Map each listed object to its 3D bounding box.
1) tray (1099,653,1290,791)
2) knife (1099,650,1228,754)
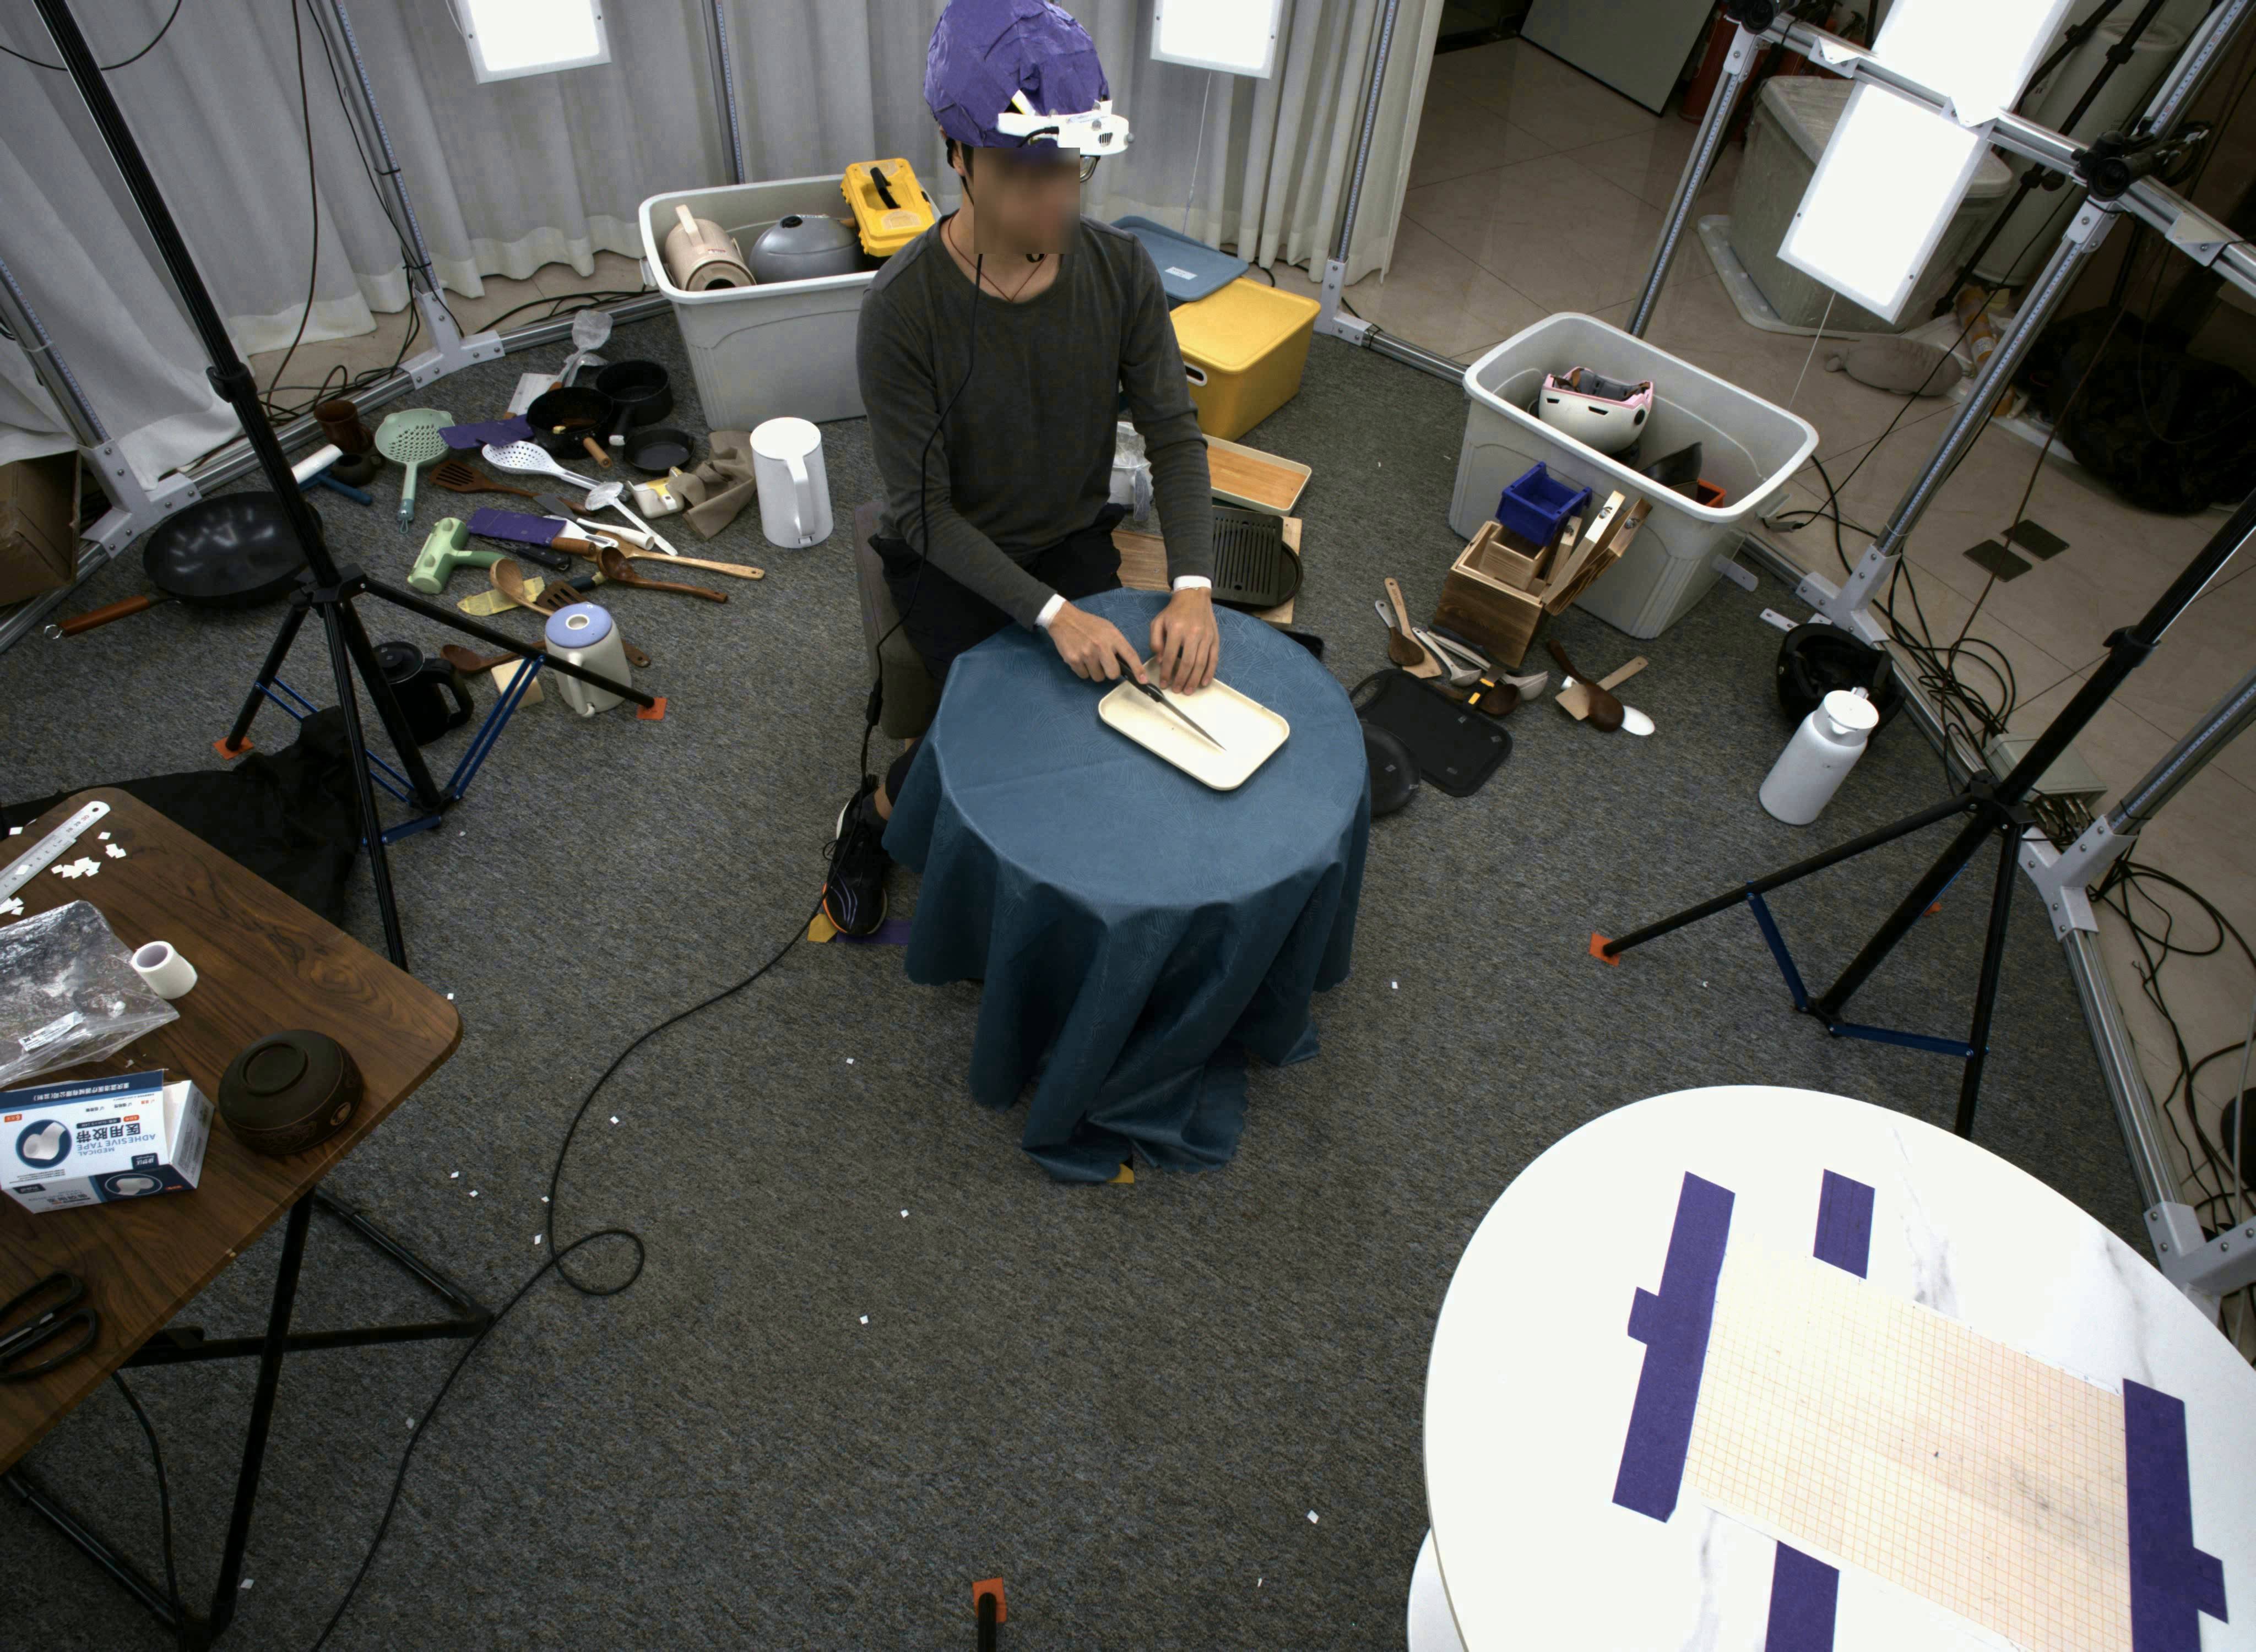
[{"bbox_3d":[0.092,-0.147,1.789,0.242,0.017,0.173,34,56,23],"label":"tray"},{"bbox_3d":[0.050,-0.175,1.790,0.241,0.024,0.016,40,73,17],"label":"knife"}]
